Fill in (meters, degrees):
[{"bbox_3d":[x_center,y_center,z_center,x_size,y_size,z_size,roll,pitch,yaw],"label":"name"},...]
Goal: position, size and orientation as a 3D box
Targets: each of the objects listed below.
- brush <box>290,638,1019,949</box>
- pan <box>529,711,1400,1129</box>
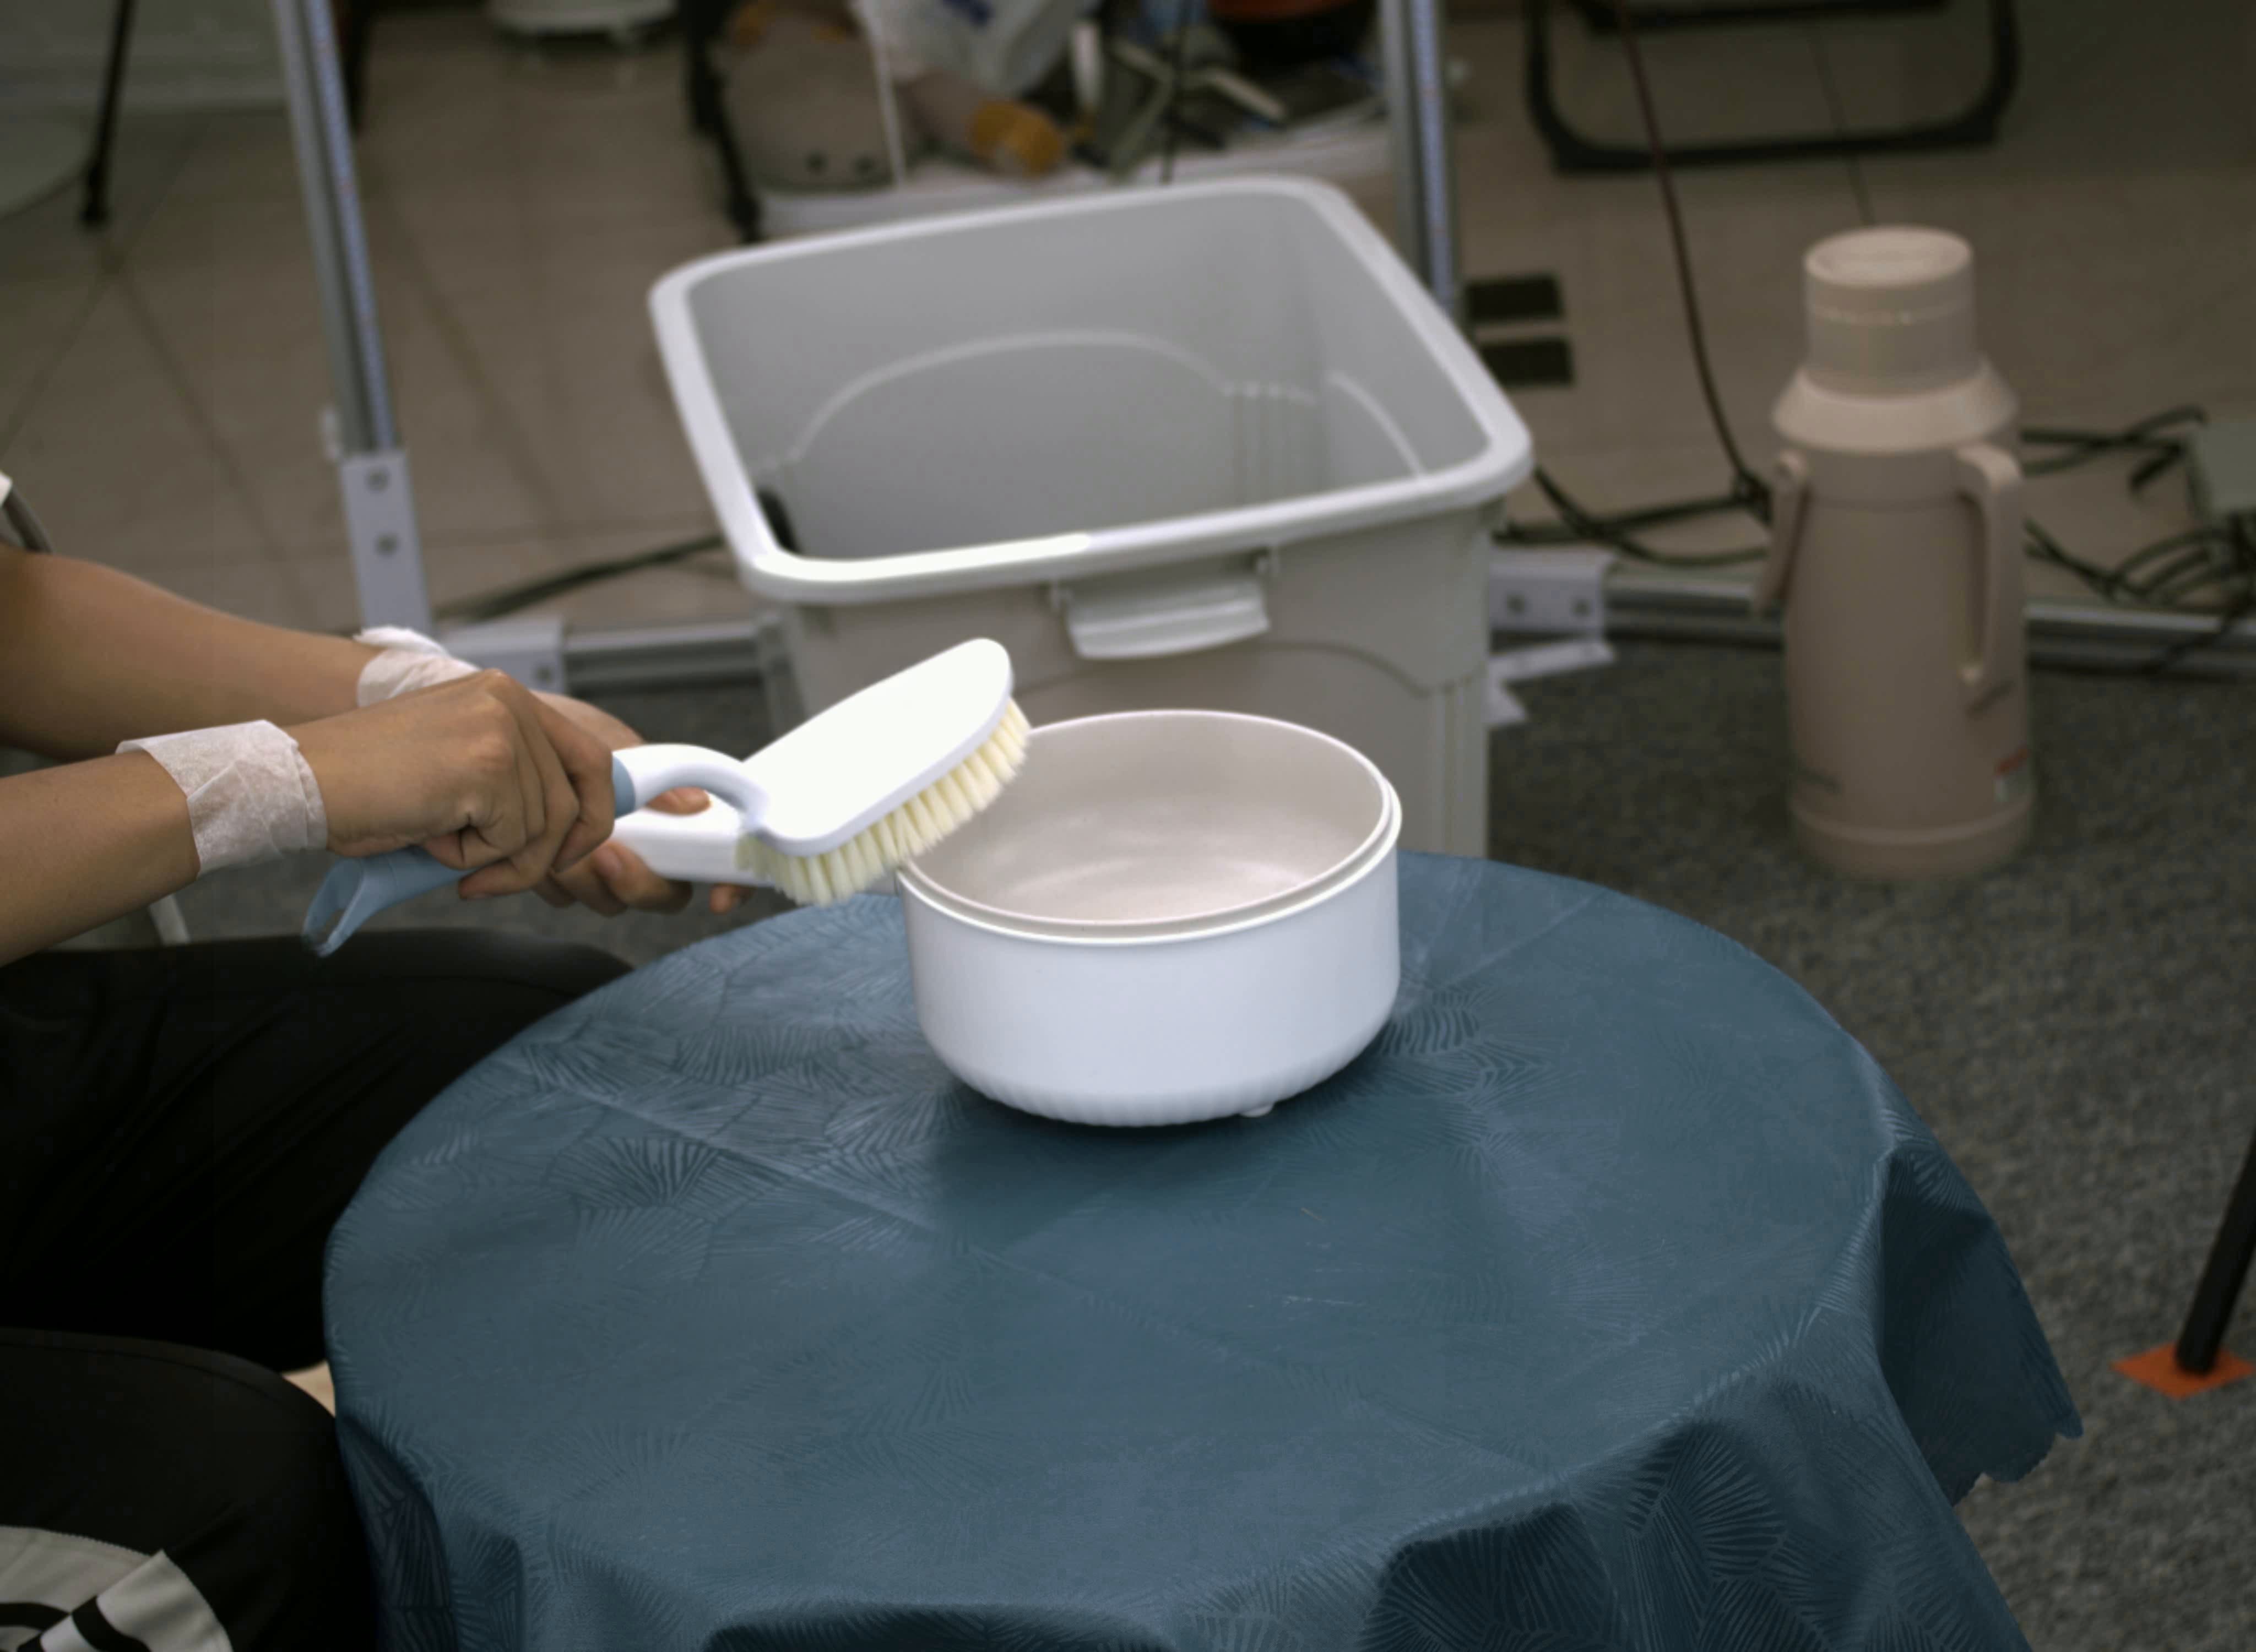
[{"bbox_3d":[-0.176,0.011,2.154,0.323,0.084,0.083,-23,-3,-32],"label":"brush"},{"bbox_3d":[-0.065,0.037,2.255,0.354,0.104,0.198,3,27,15],"label":"pan"}]
